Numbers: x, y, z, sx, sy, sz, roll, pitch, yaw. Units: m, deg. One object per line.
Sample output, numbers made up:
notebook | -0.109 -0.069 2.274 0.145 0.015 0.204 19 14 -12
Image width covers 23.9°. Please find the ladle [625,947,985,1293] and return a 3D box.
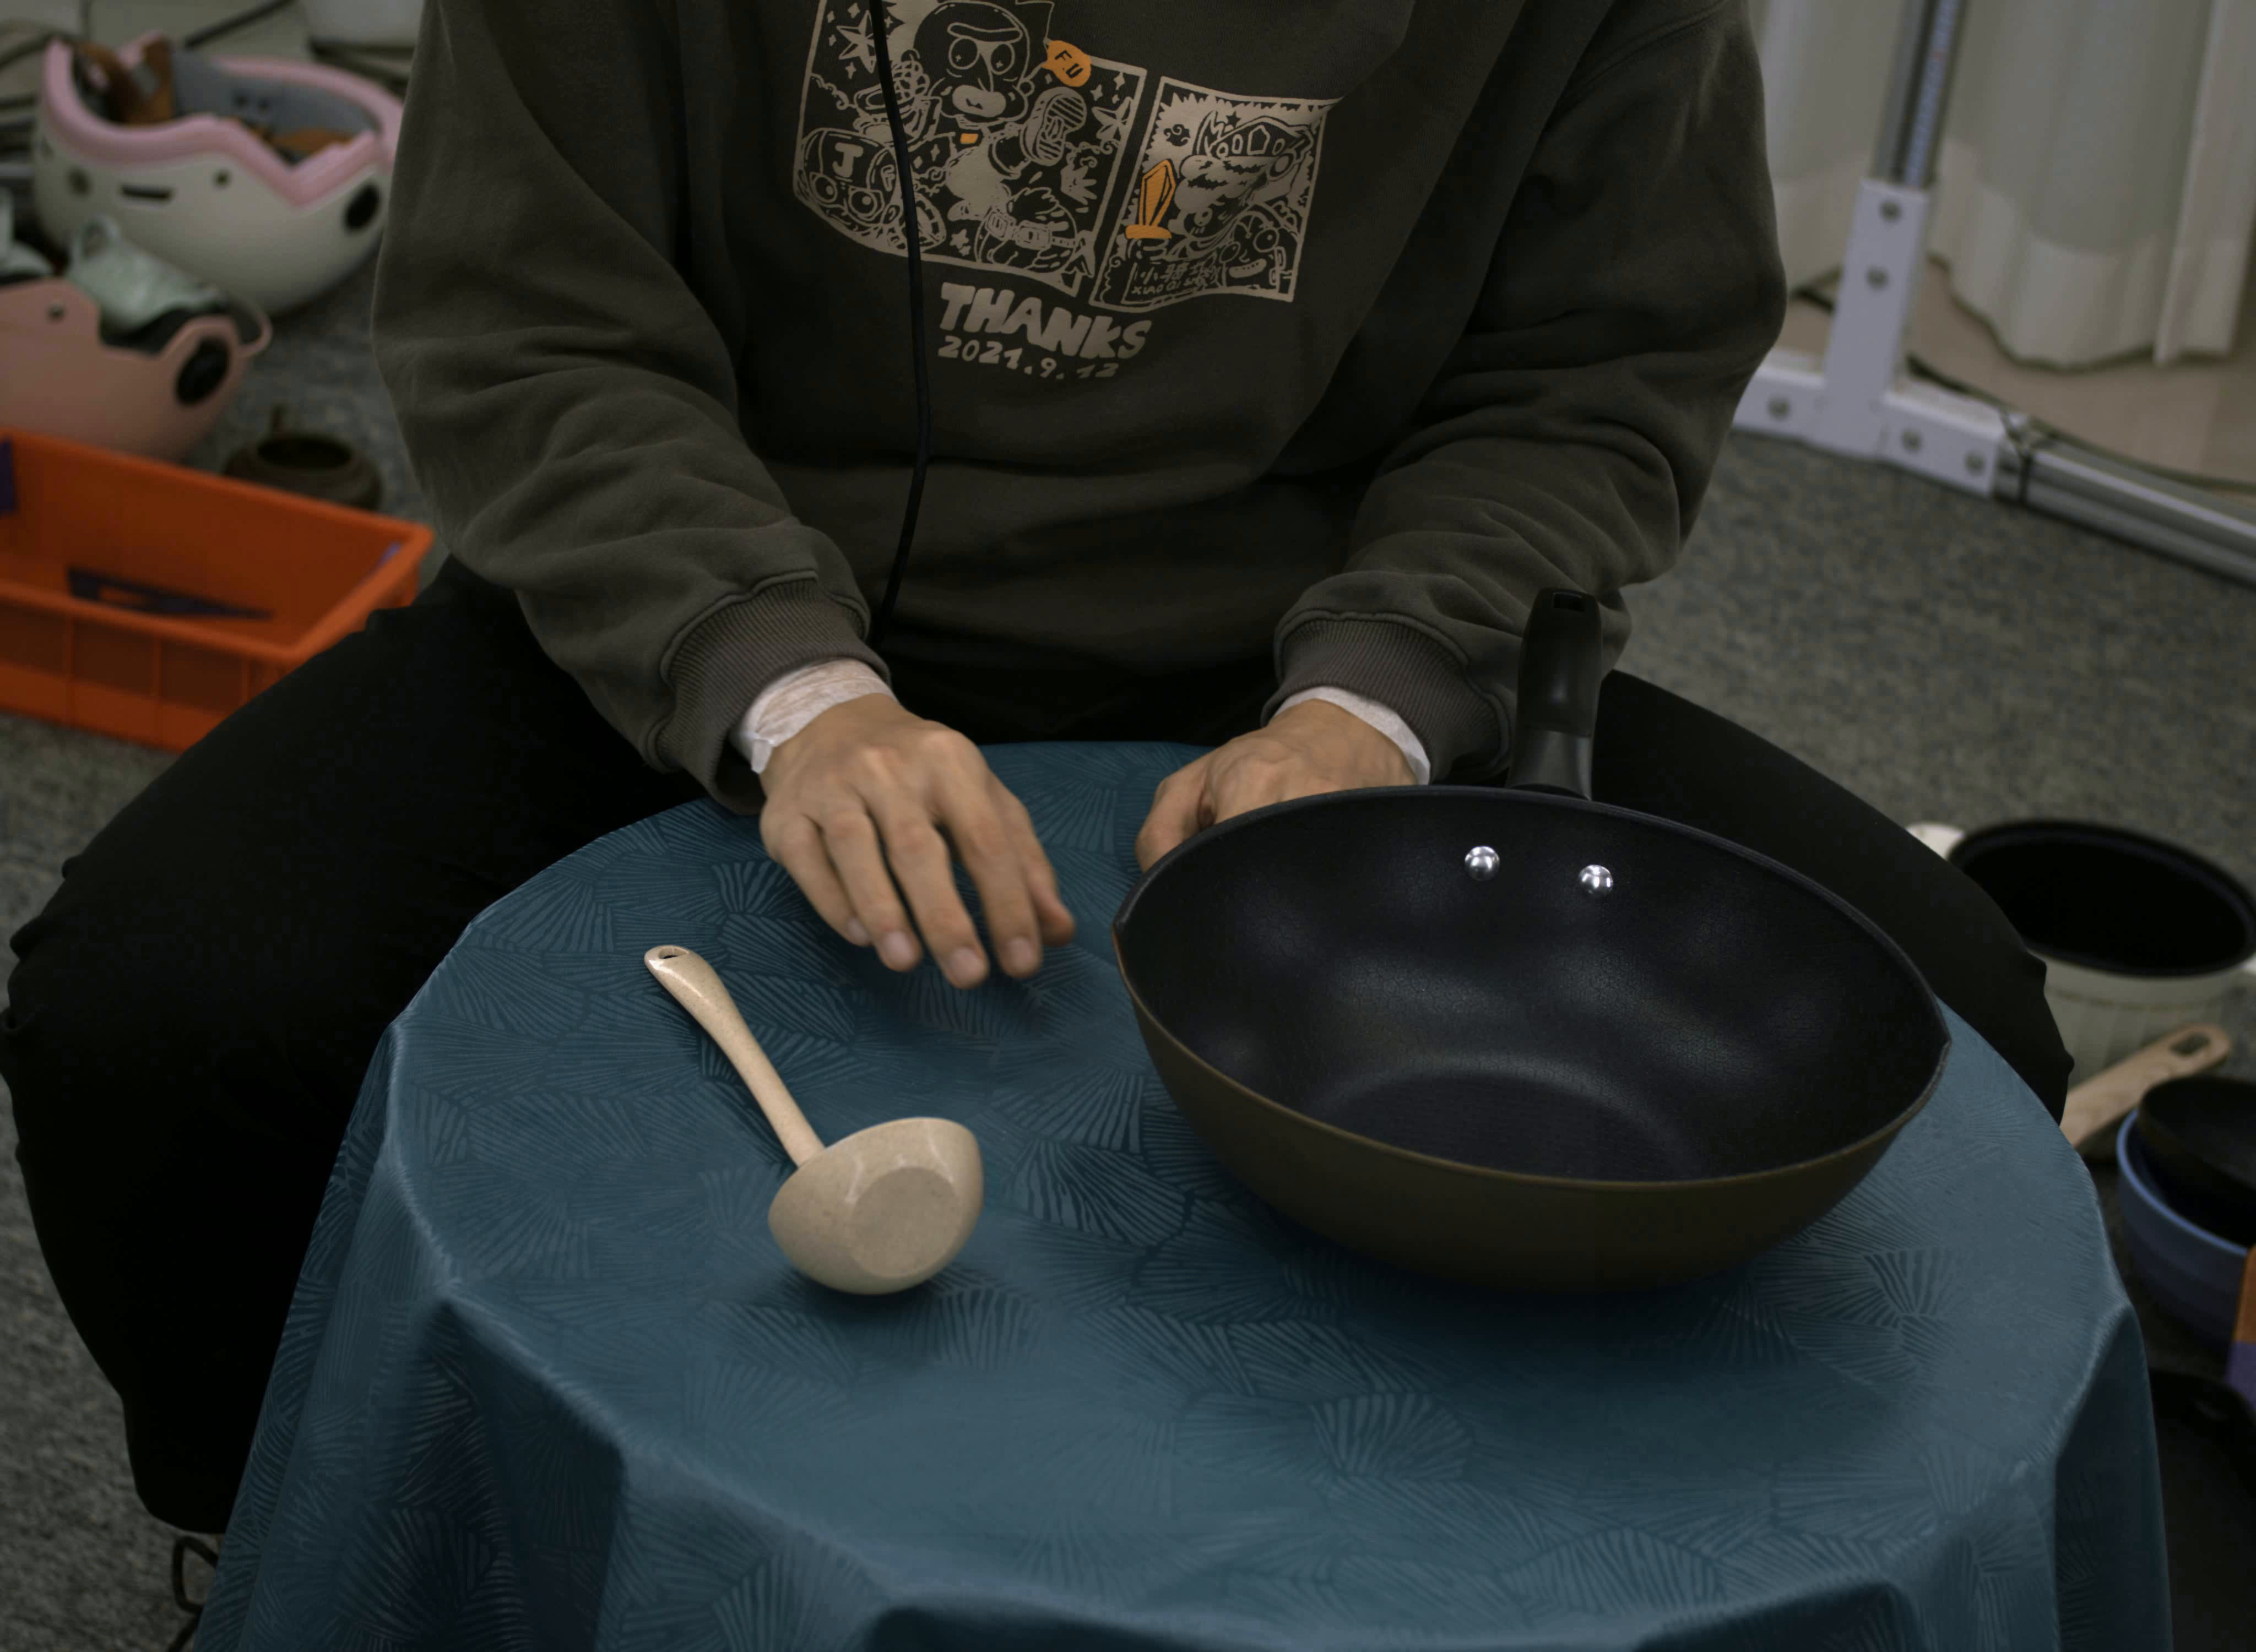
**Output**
ladle | -0.123 0.072 1.797 0.072 0.072 0.257 -16 33 -20

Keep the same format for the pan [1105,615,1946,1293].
pan | 0.141 0.045 1.900 0.287 0.086 0.465 8 25 4
